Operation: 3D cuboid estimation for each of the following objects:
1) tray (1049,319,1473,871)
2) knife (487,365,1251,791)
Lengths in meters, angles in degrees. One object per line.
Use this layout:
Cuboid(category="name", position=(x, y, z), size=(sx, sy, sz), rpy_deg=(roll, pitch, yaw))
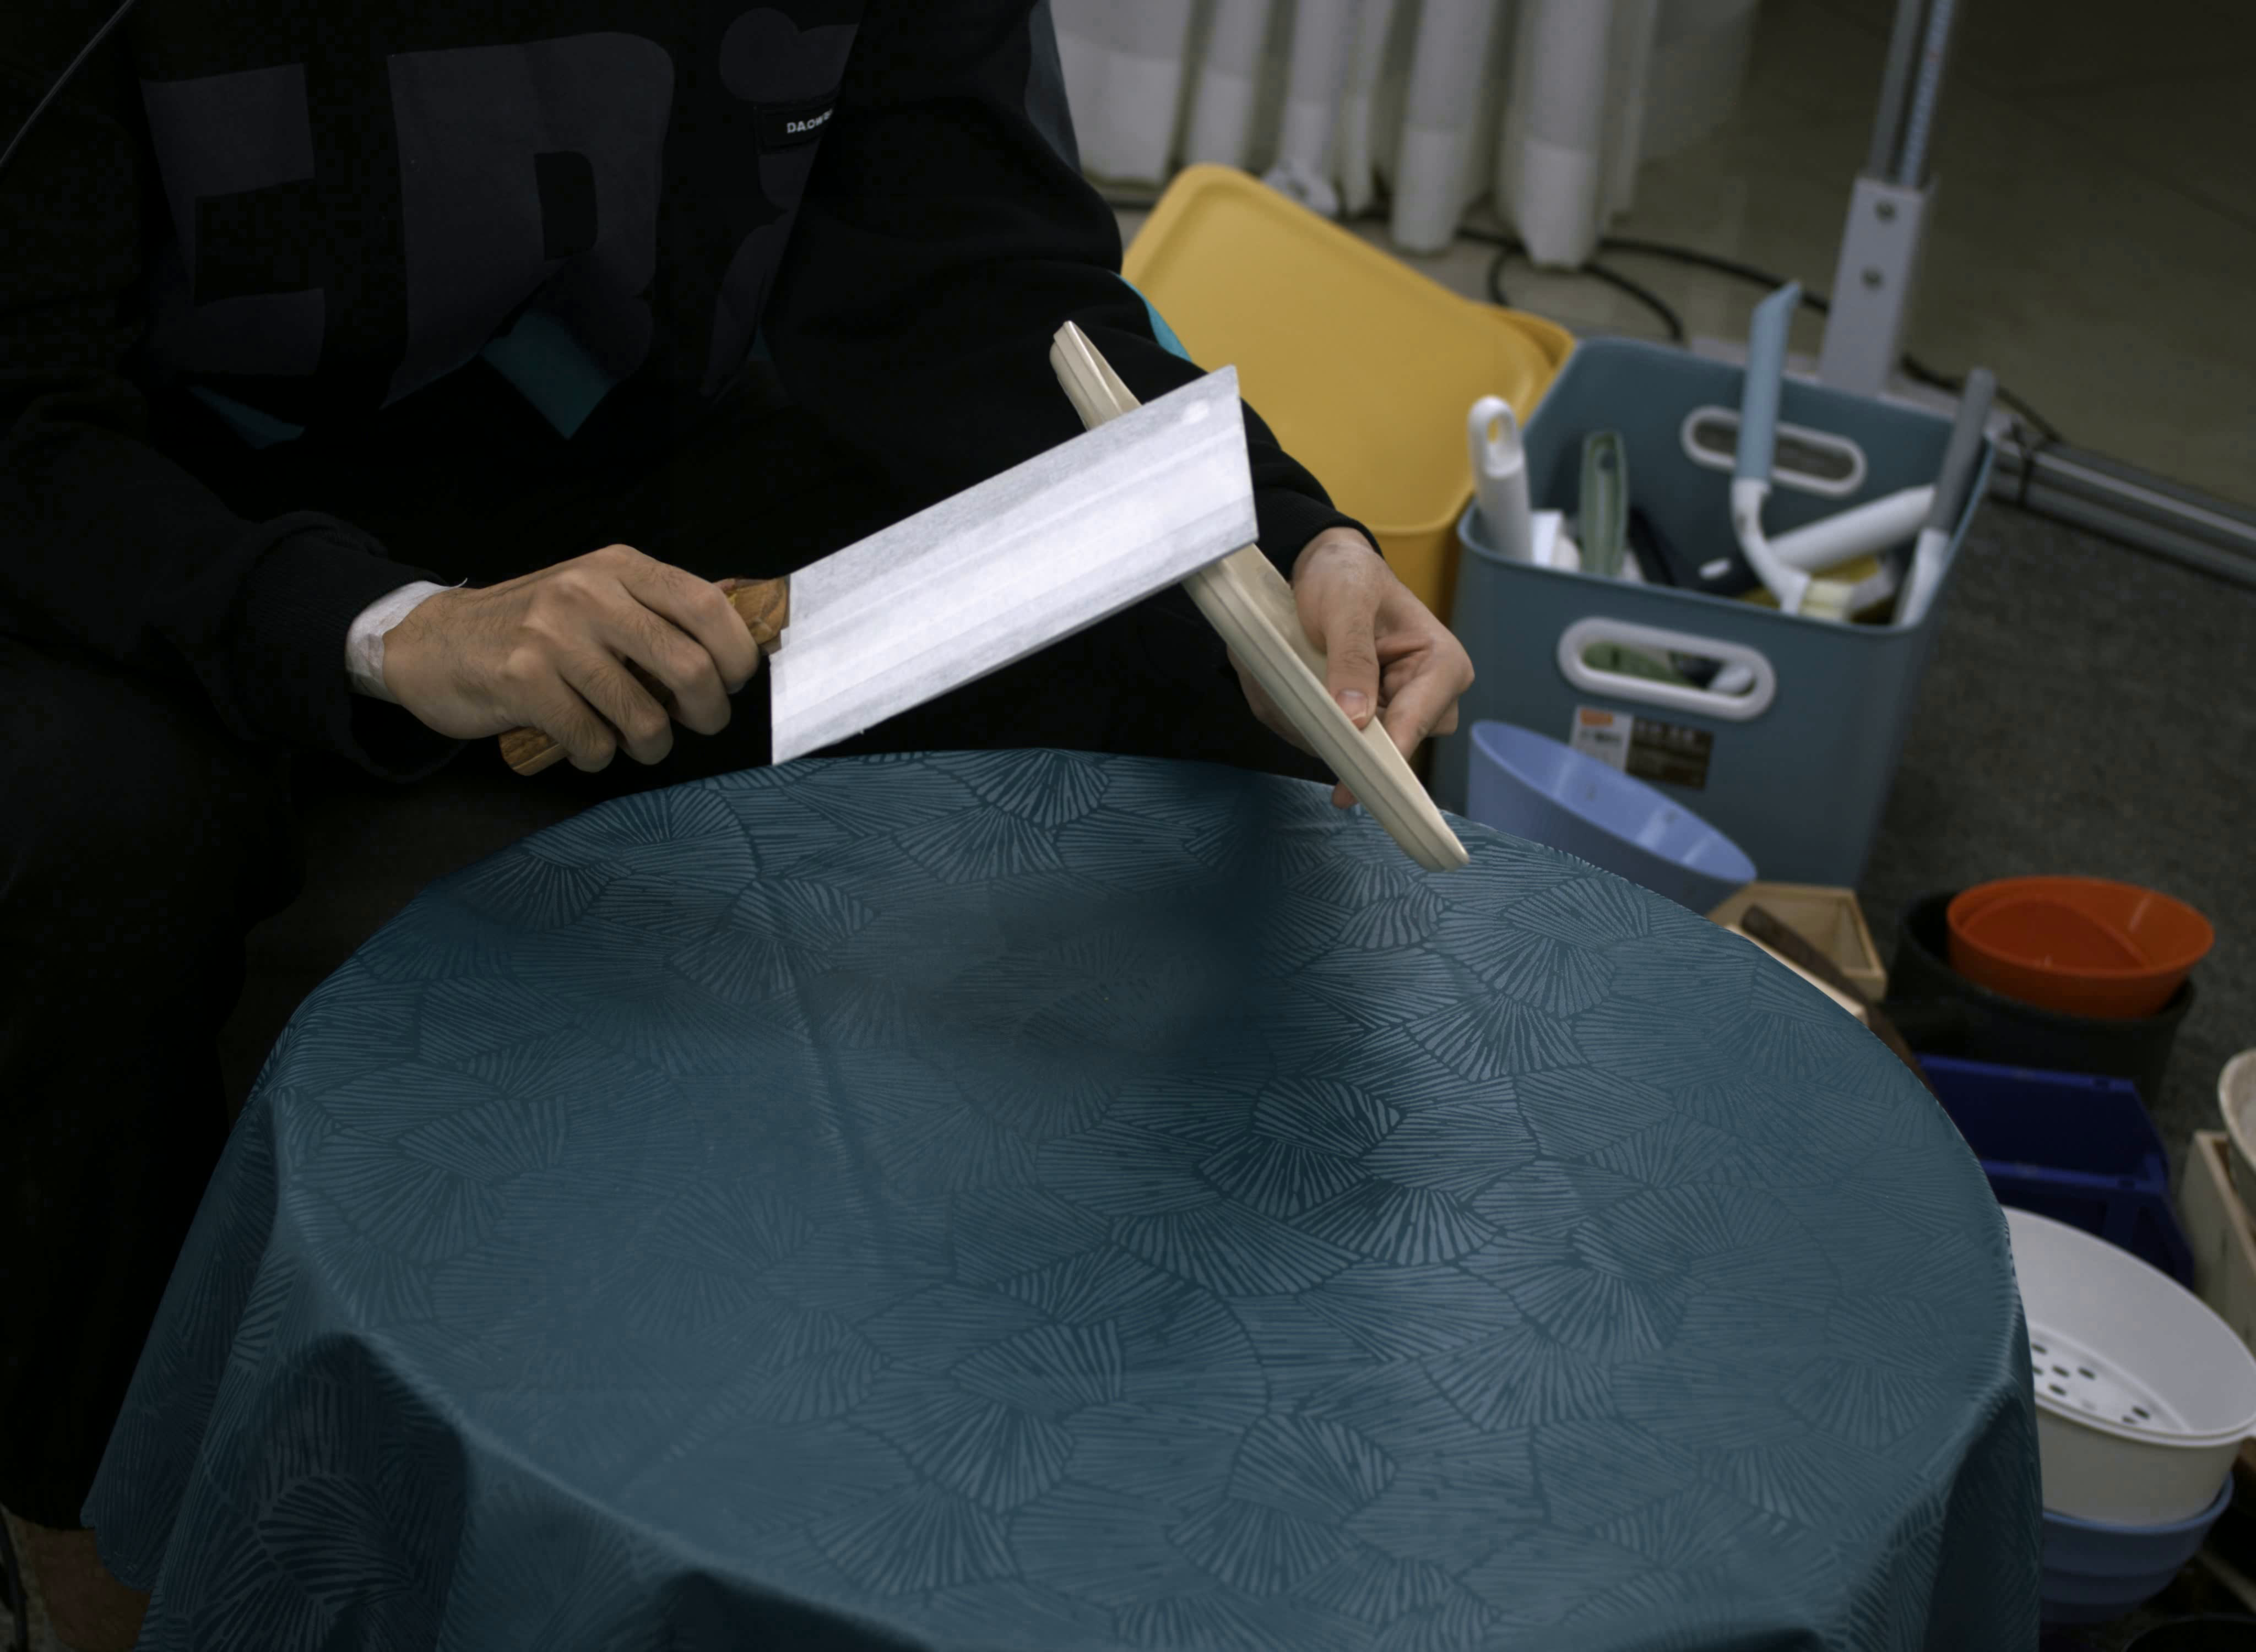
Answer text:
Cuboid(category="tray", position=(0.042, -0.082, 1.891), size=(0.017, 0.170, 0.241), rpy_deg=(-38, 29, 6))
Cuboid(category="knife", position=(-0.092, -0.068, 1.830), size=(0.306, 0.021, 0.094), rpy_deg=(-25, 44, 19))
